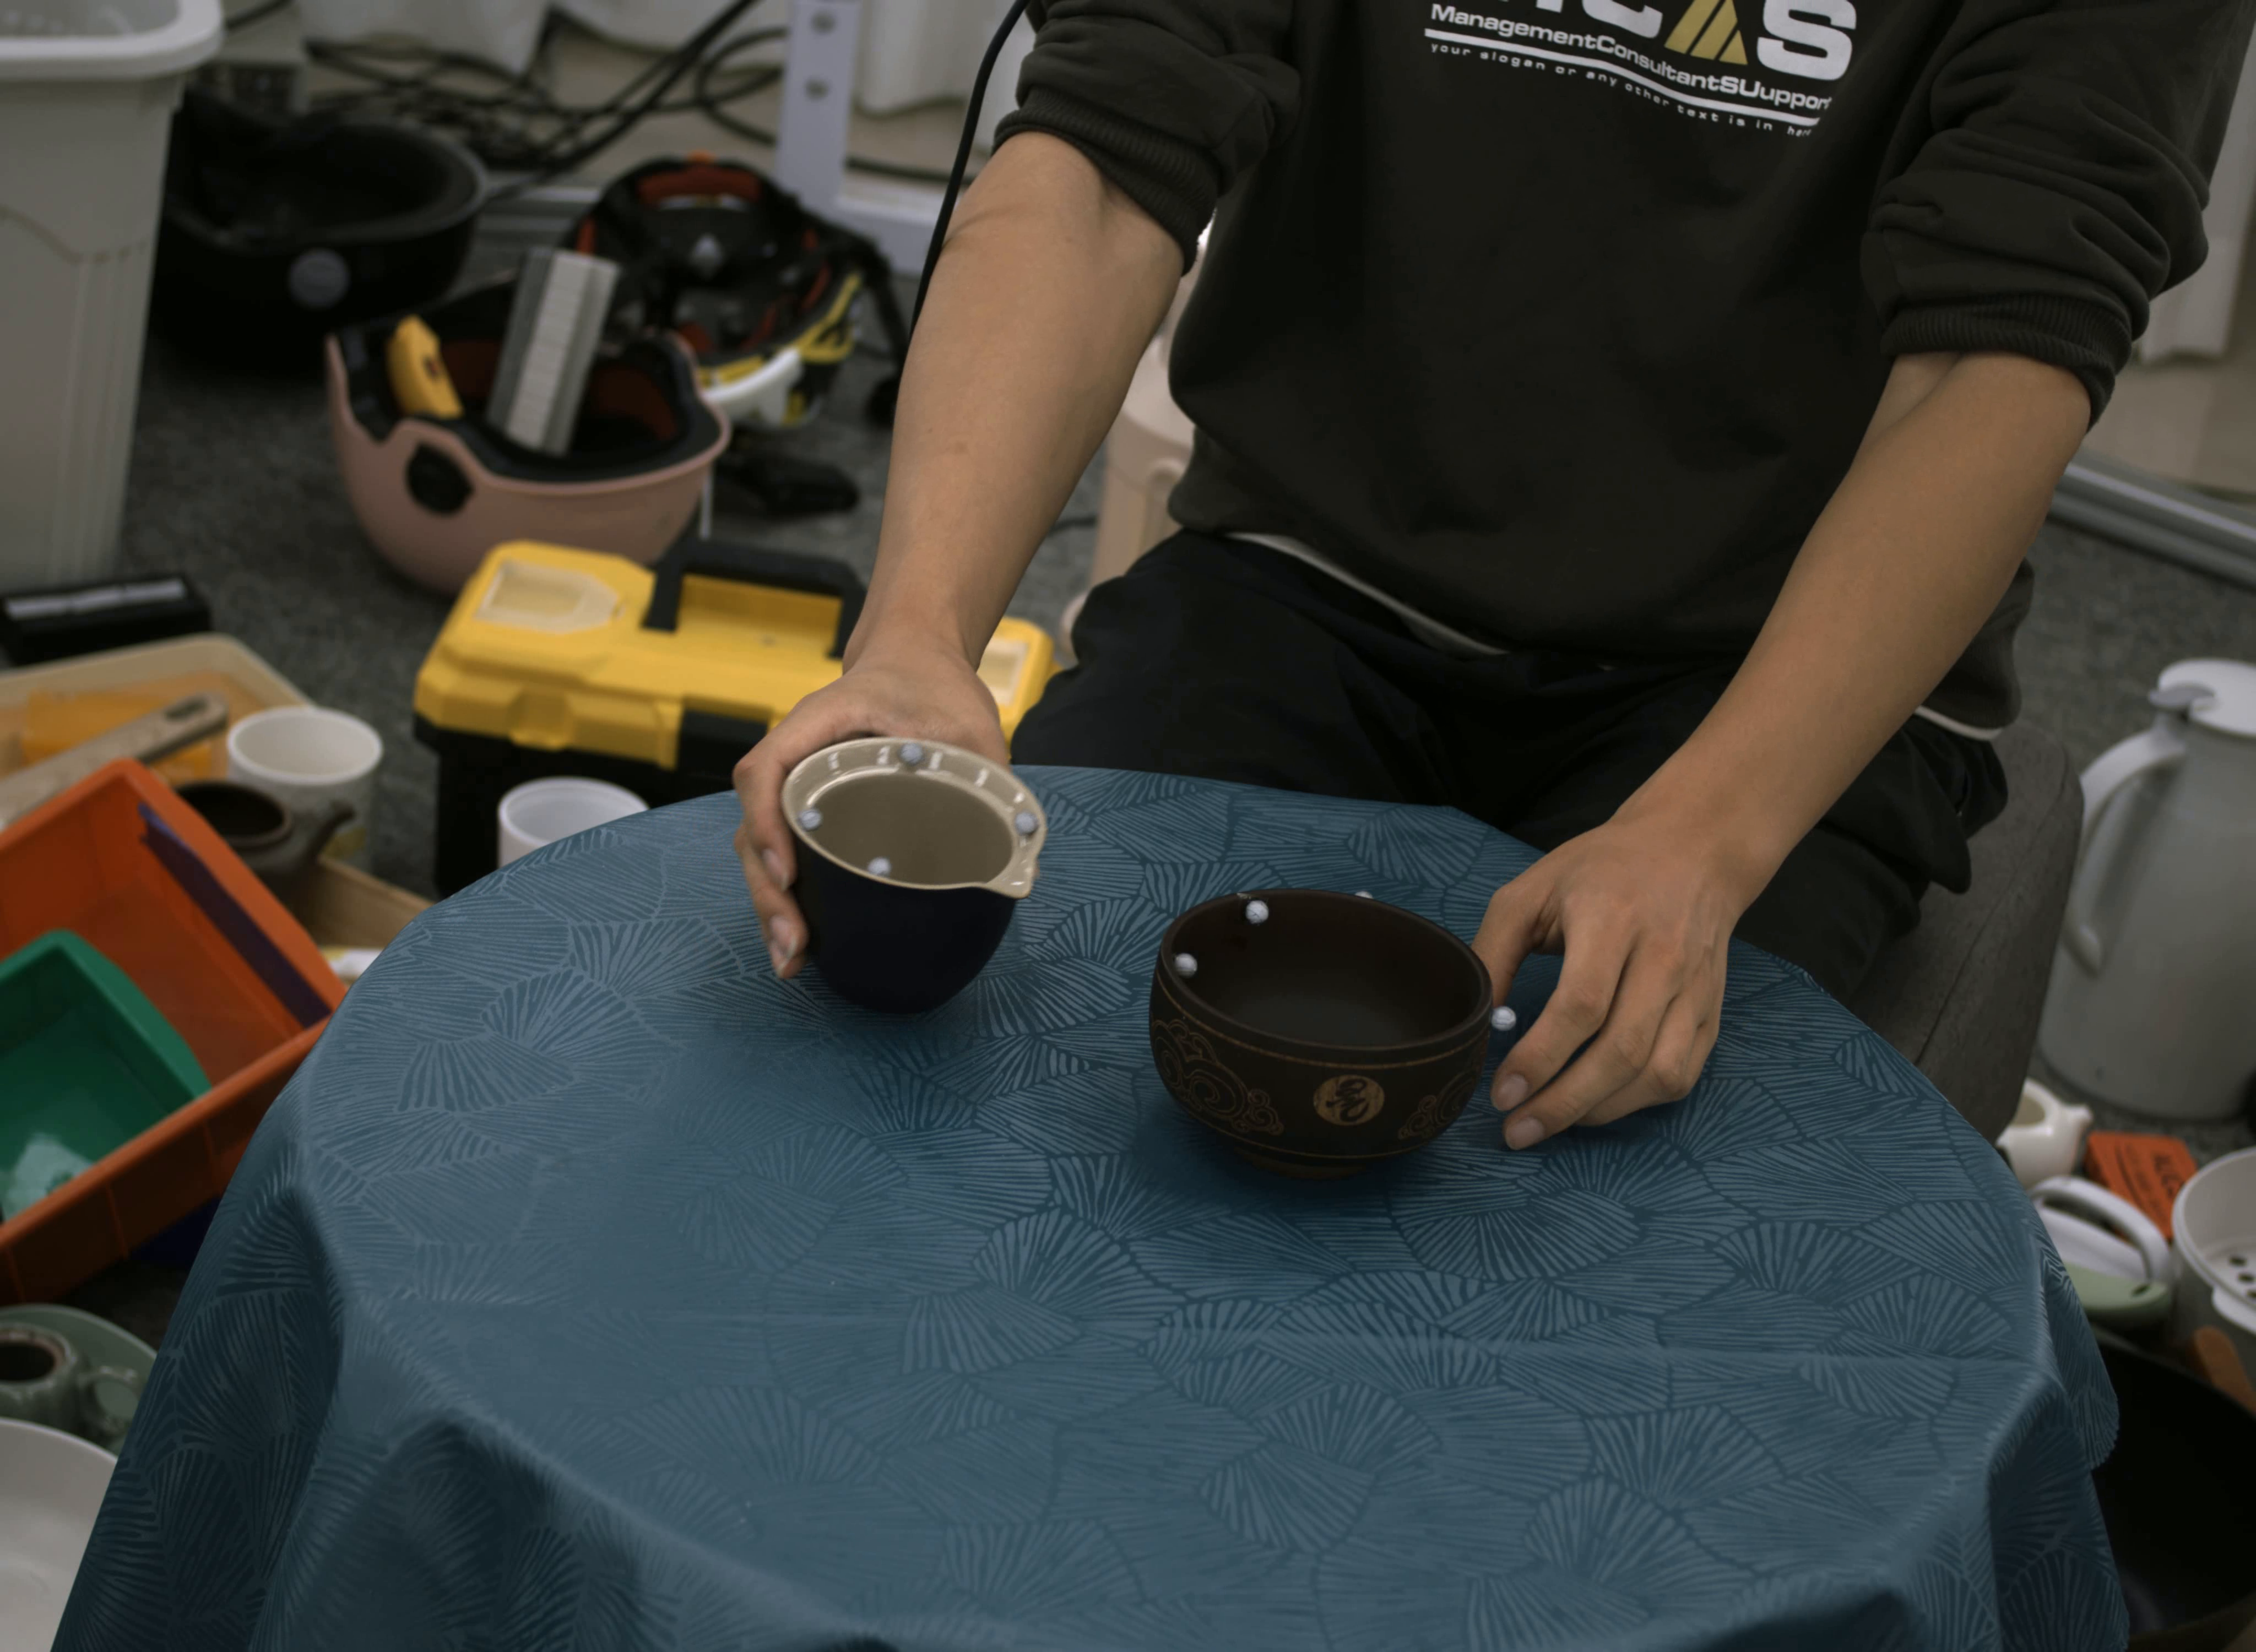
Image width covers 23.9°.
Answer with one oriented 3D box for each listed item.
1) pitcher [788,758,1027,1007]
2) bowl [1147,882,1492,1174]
[{"bbox_3d":[-0.078,0.024,1.888,0.083,0.071,0.097,-17,41,-38],"label":"pitcher"},{"bbox_3d":[0.064,0.076,1.836,0.117,0.069,0.119,4,28,-3],"label":"bowl"}]
